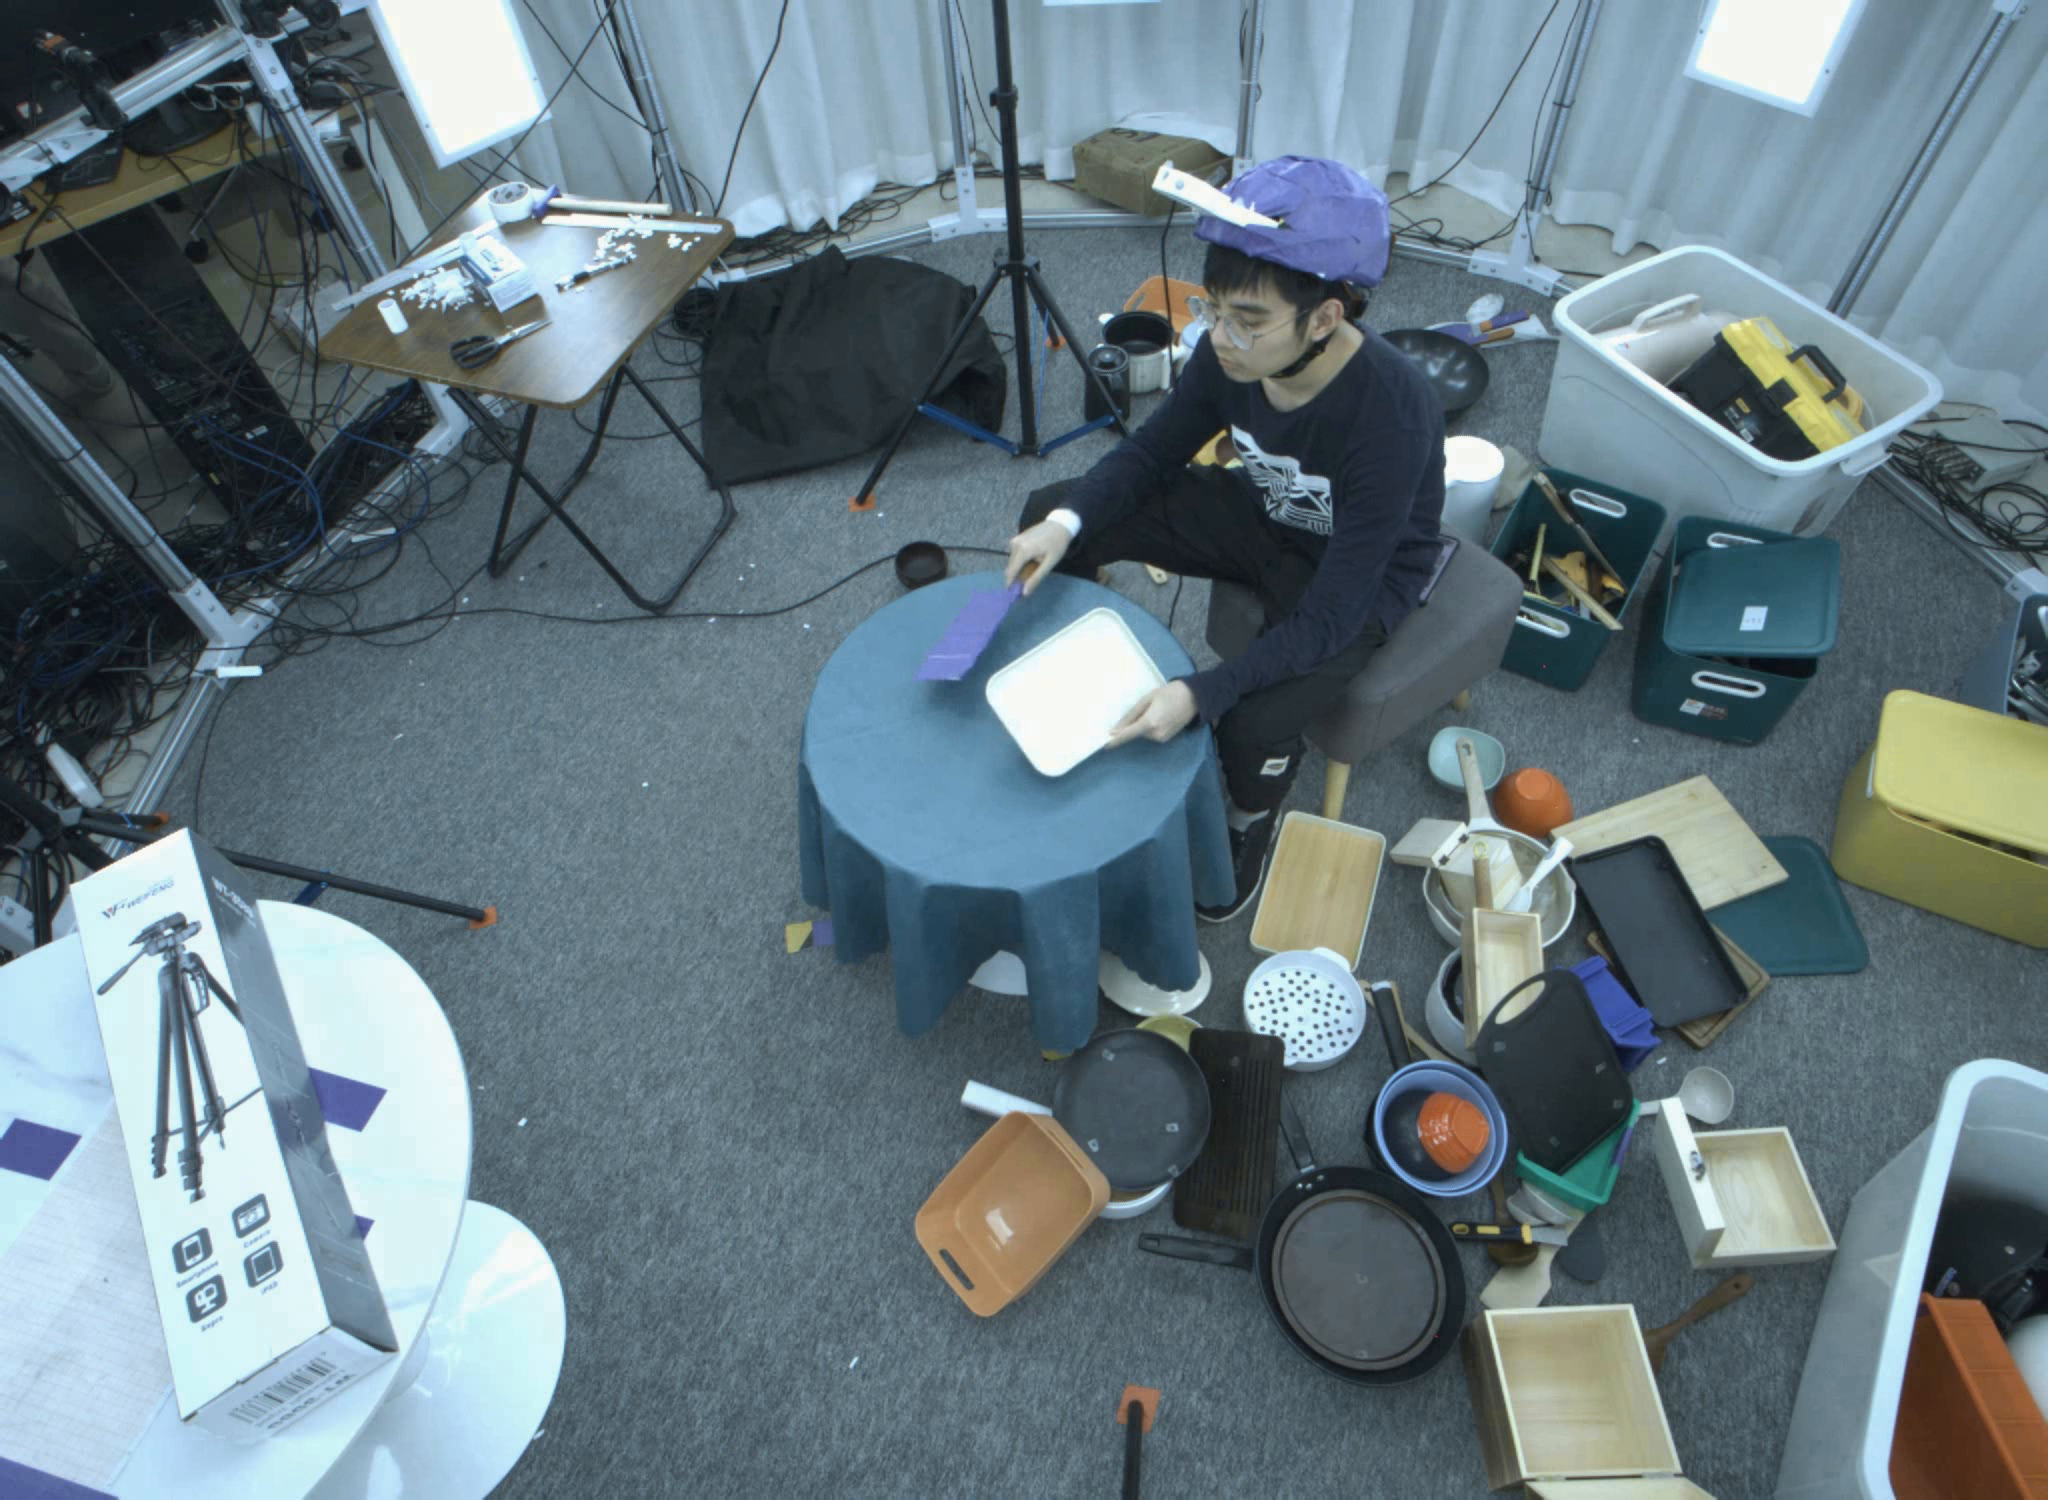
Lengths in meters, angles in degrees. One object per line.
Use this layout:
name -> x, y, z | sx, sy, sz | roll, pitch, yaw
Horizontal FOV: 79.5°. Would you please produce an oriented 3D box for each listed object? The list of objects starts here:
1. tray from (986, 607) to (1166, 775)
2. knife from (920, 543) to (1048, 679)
tray -> 0.076, -0.085, 1.755 | 0.241, 0.017, 0.171 | -34, 90, -19
knife -> -0.063, -0.216, 1.879 | 0.102, 0.033, 0.316 | 4, 44, 30
